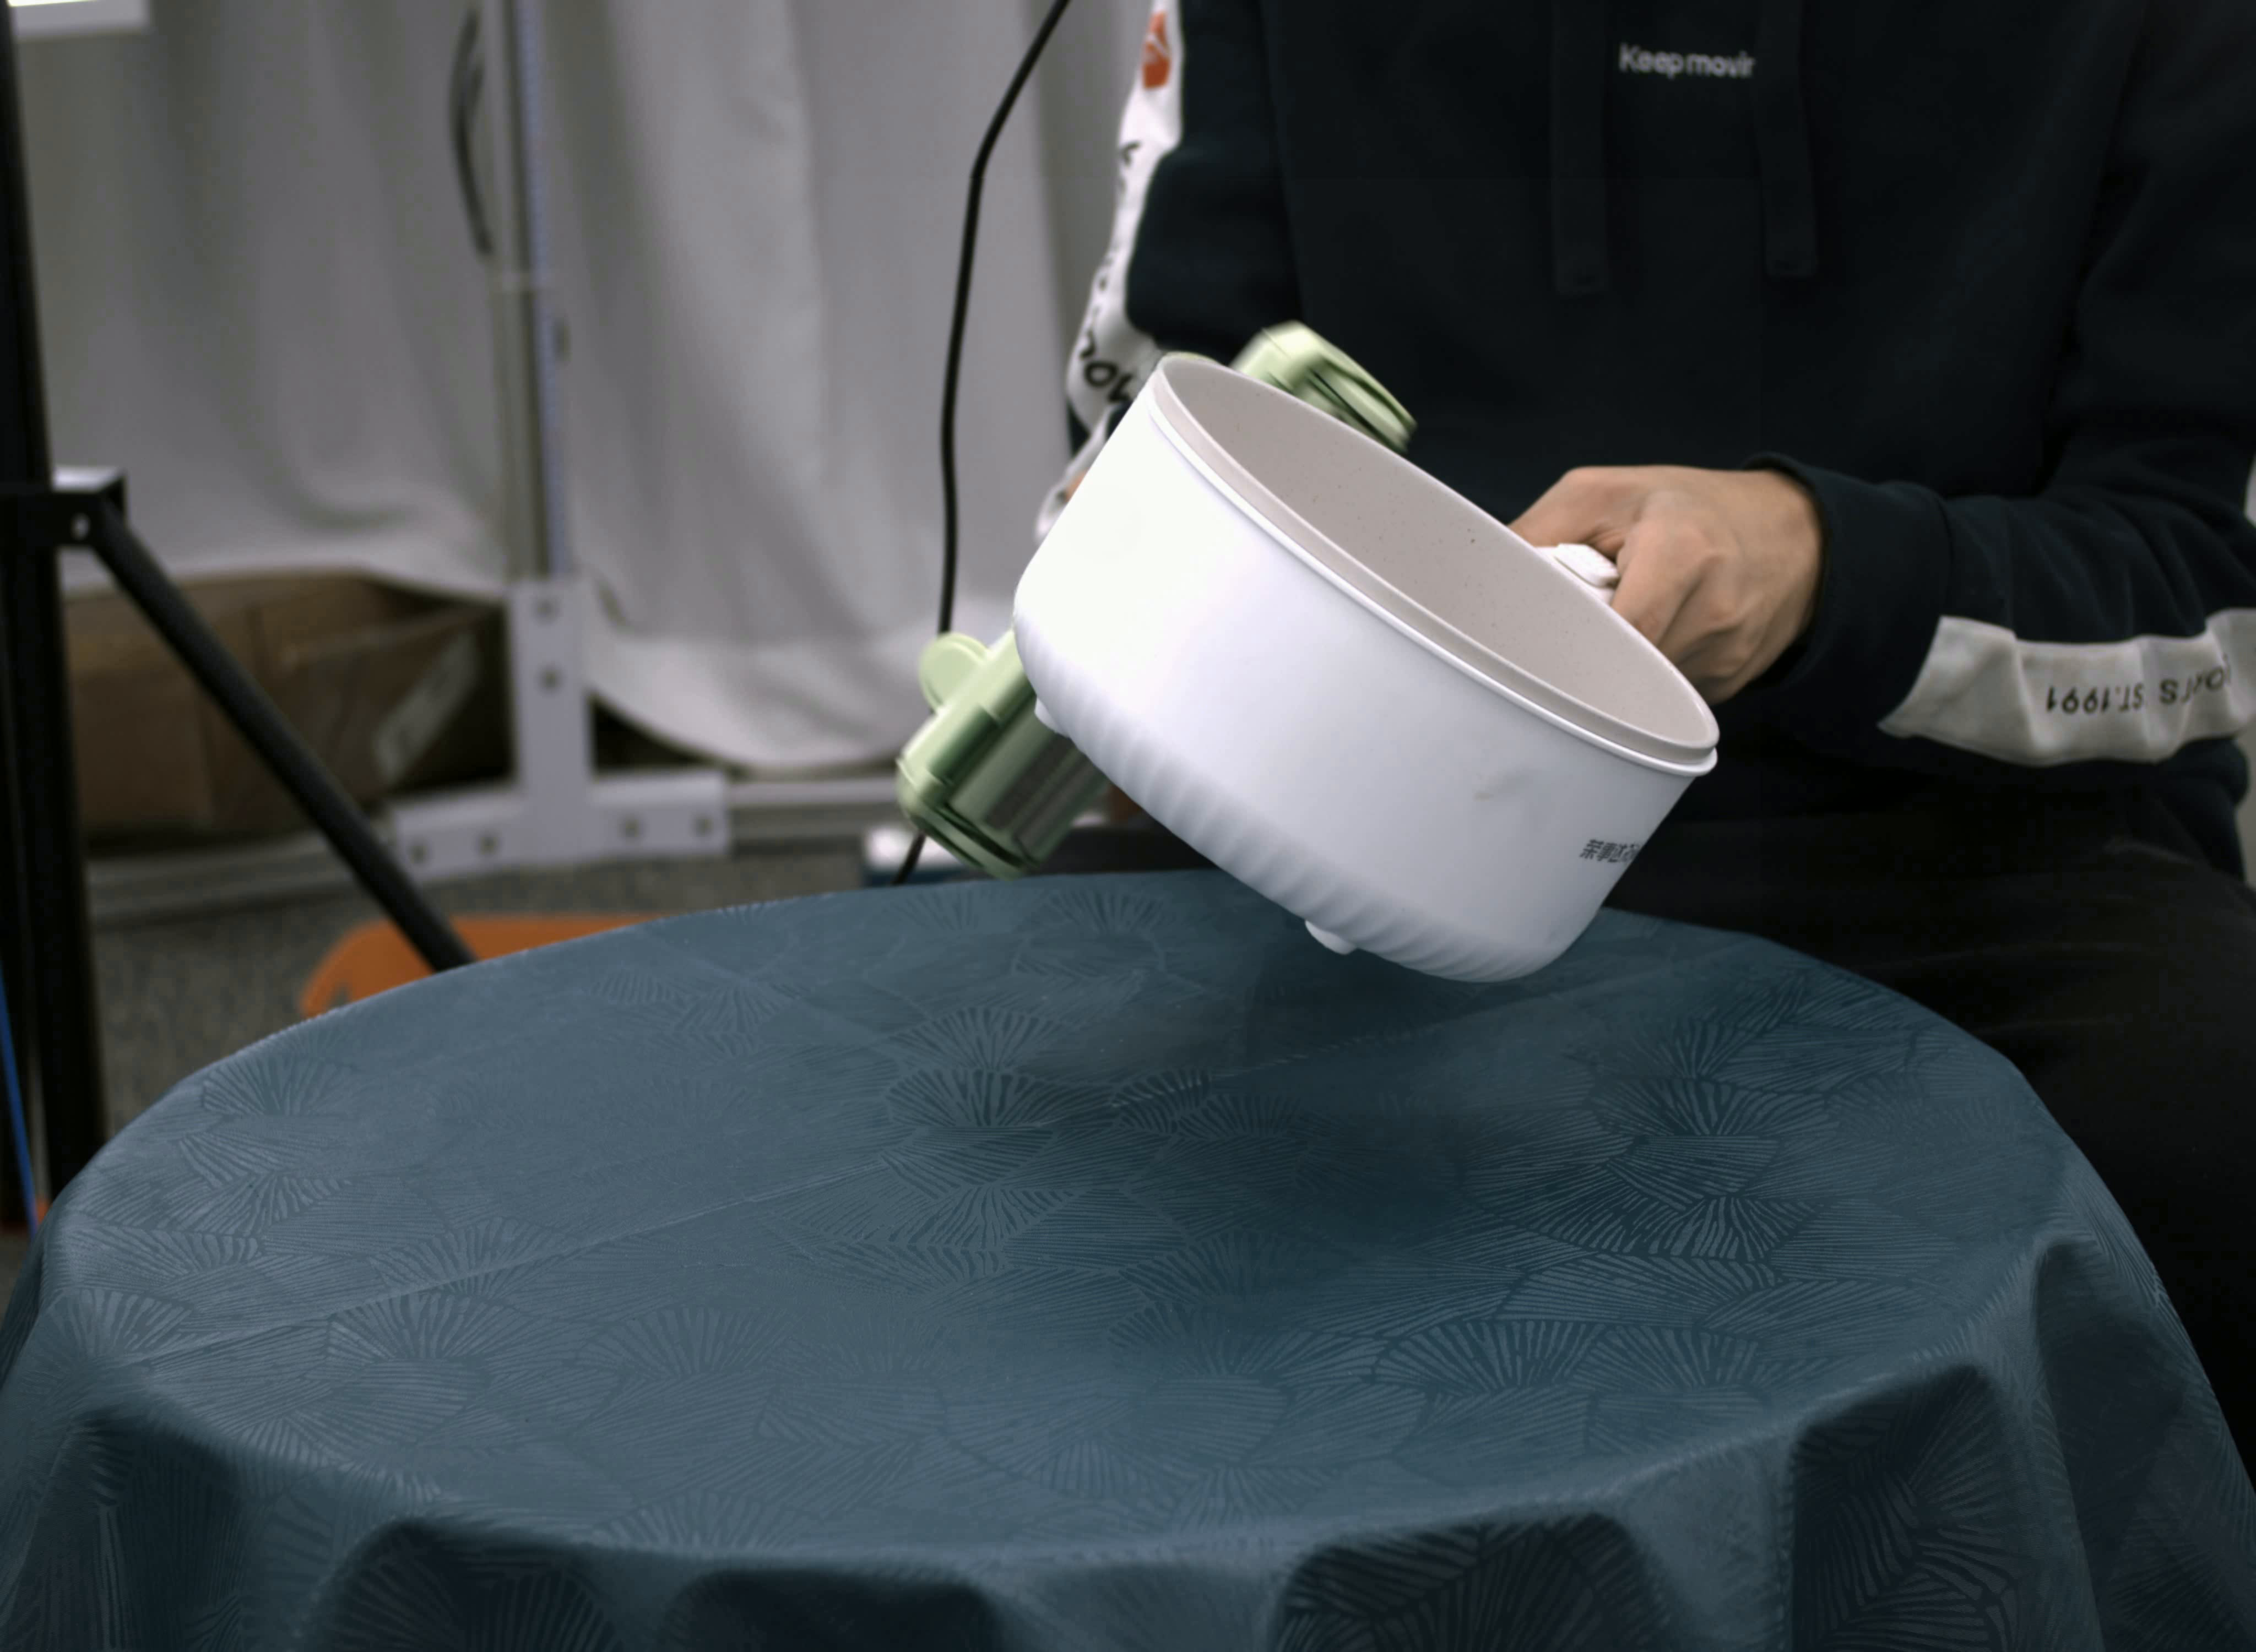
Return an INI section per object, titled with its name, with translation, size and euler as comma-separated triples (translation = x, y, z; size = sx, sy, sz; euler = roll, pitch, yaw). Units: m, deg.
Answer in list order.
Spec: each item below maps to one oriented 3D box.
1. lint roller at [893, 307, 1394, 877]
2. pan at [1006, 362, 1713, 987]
[lint roller]
translation = 0.008, -0.076, 1.715
size = 0.083, 0.199, 0.181
euler = 41, 7, 8
[pan]
translation = 0.088, -0.039, 1.616
size = 0.204, 0.102, 0.349
euler = 37, 13, 17
